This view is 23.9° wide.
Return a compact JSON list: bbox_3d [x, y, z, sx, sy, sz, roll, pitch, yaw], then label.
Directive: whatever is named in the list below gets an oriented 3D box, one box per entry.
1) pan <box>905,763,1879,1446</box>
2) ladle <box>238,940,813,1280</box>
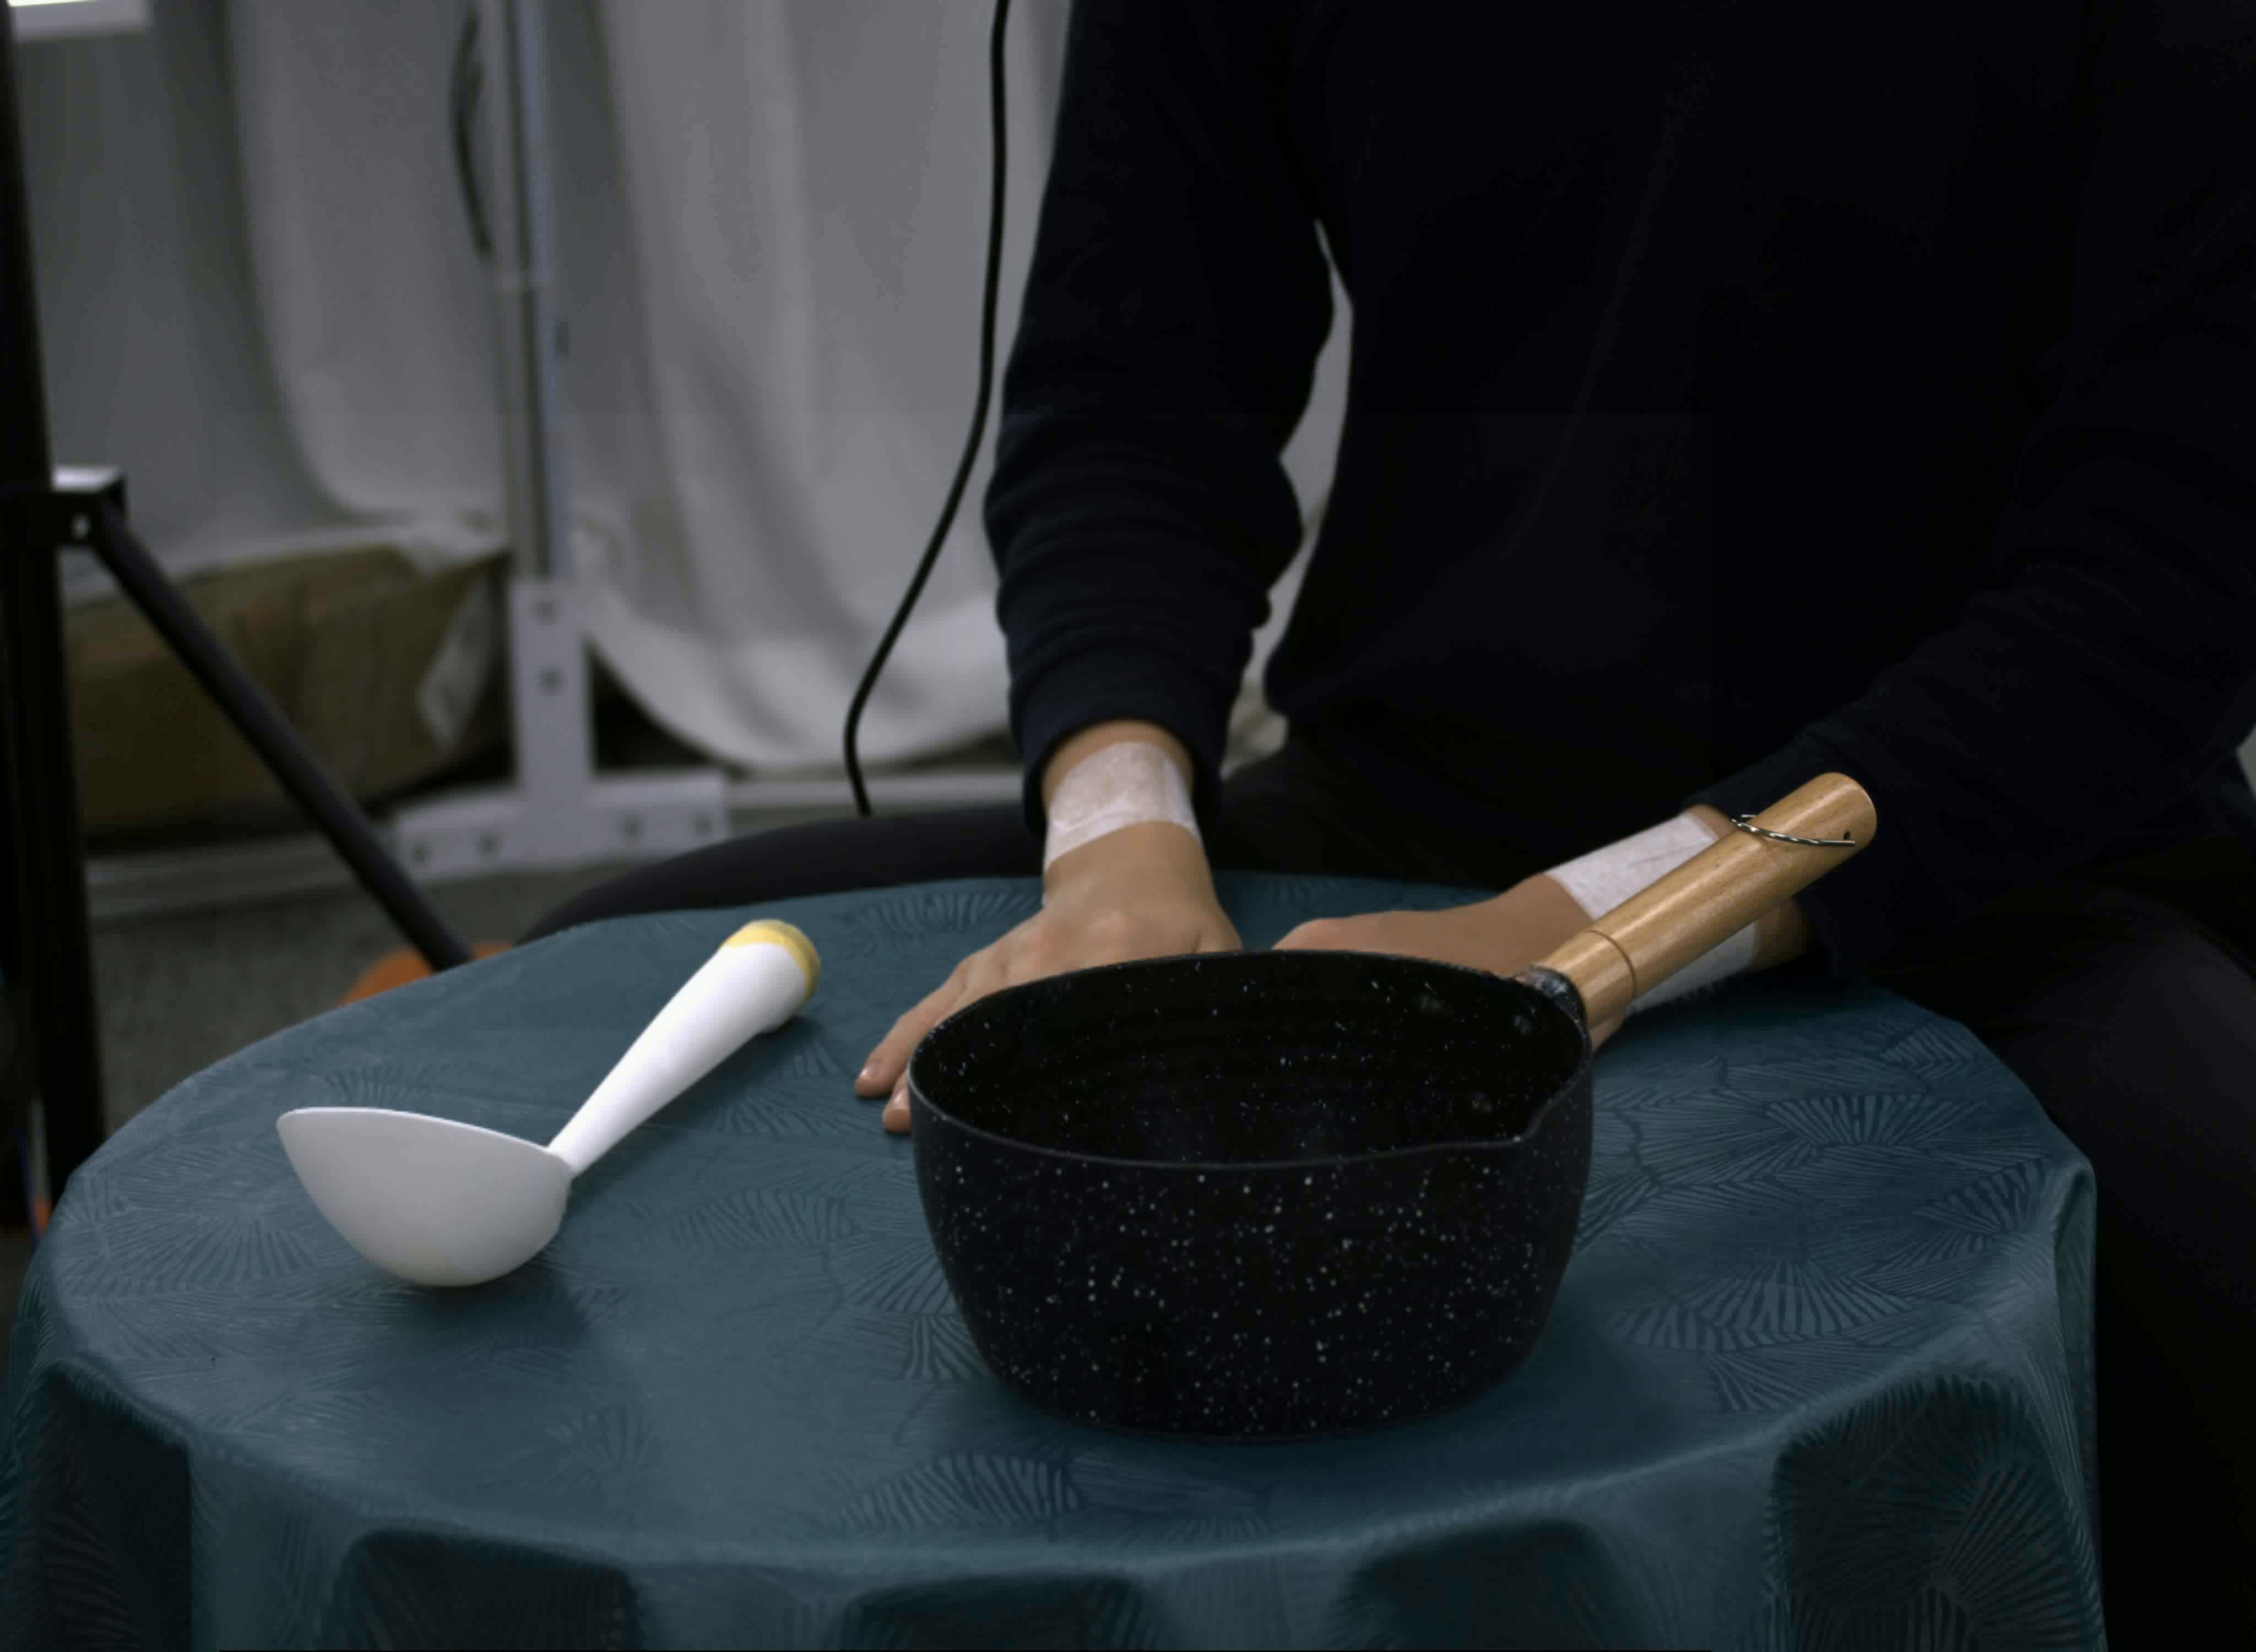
[{"bbox_3d":[0.091,0.072,1.472,0.335,0.108,0.212,-18,21,-40],"label":"pan"},{"bbox_3d":[-0.167,0.070,1.604,0.091,0.070,0.289,-4,13,21],"label":"ladle"}]
